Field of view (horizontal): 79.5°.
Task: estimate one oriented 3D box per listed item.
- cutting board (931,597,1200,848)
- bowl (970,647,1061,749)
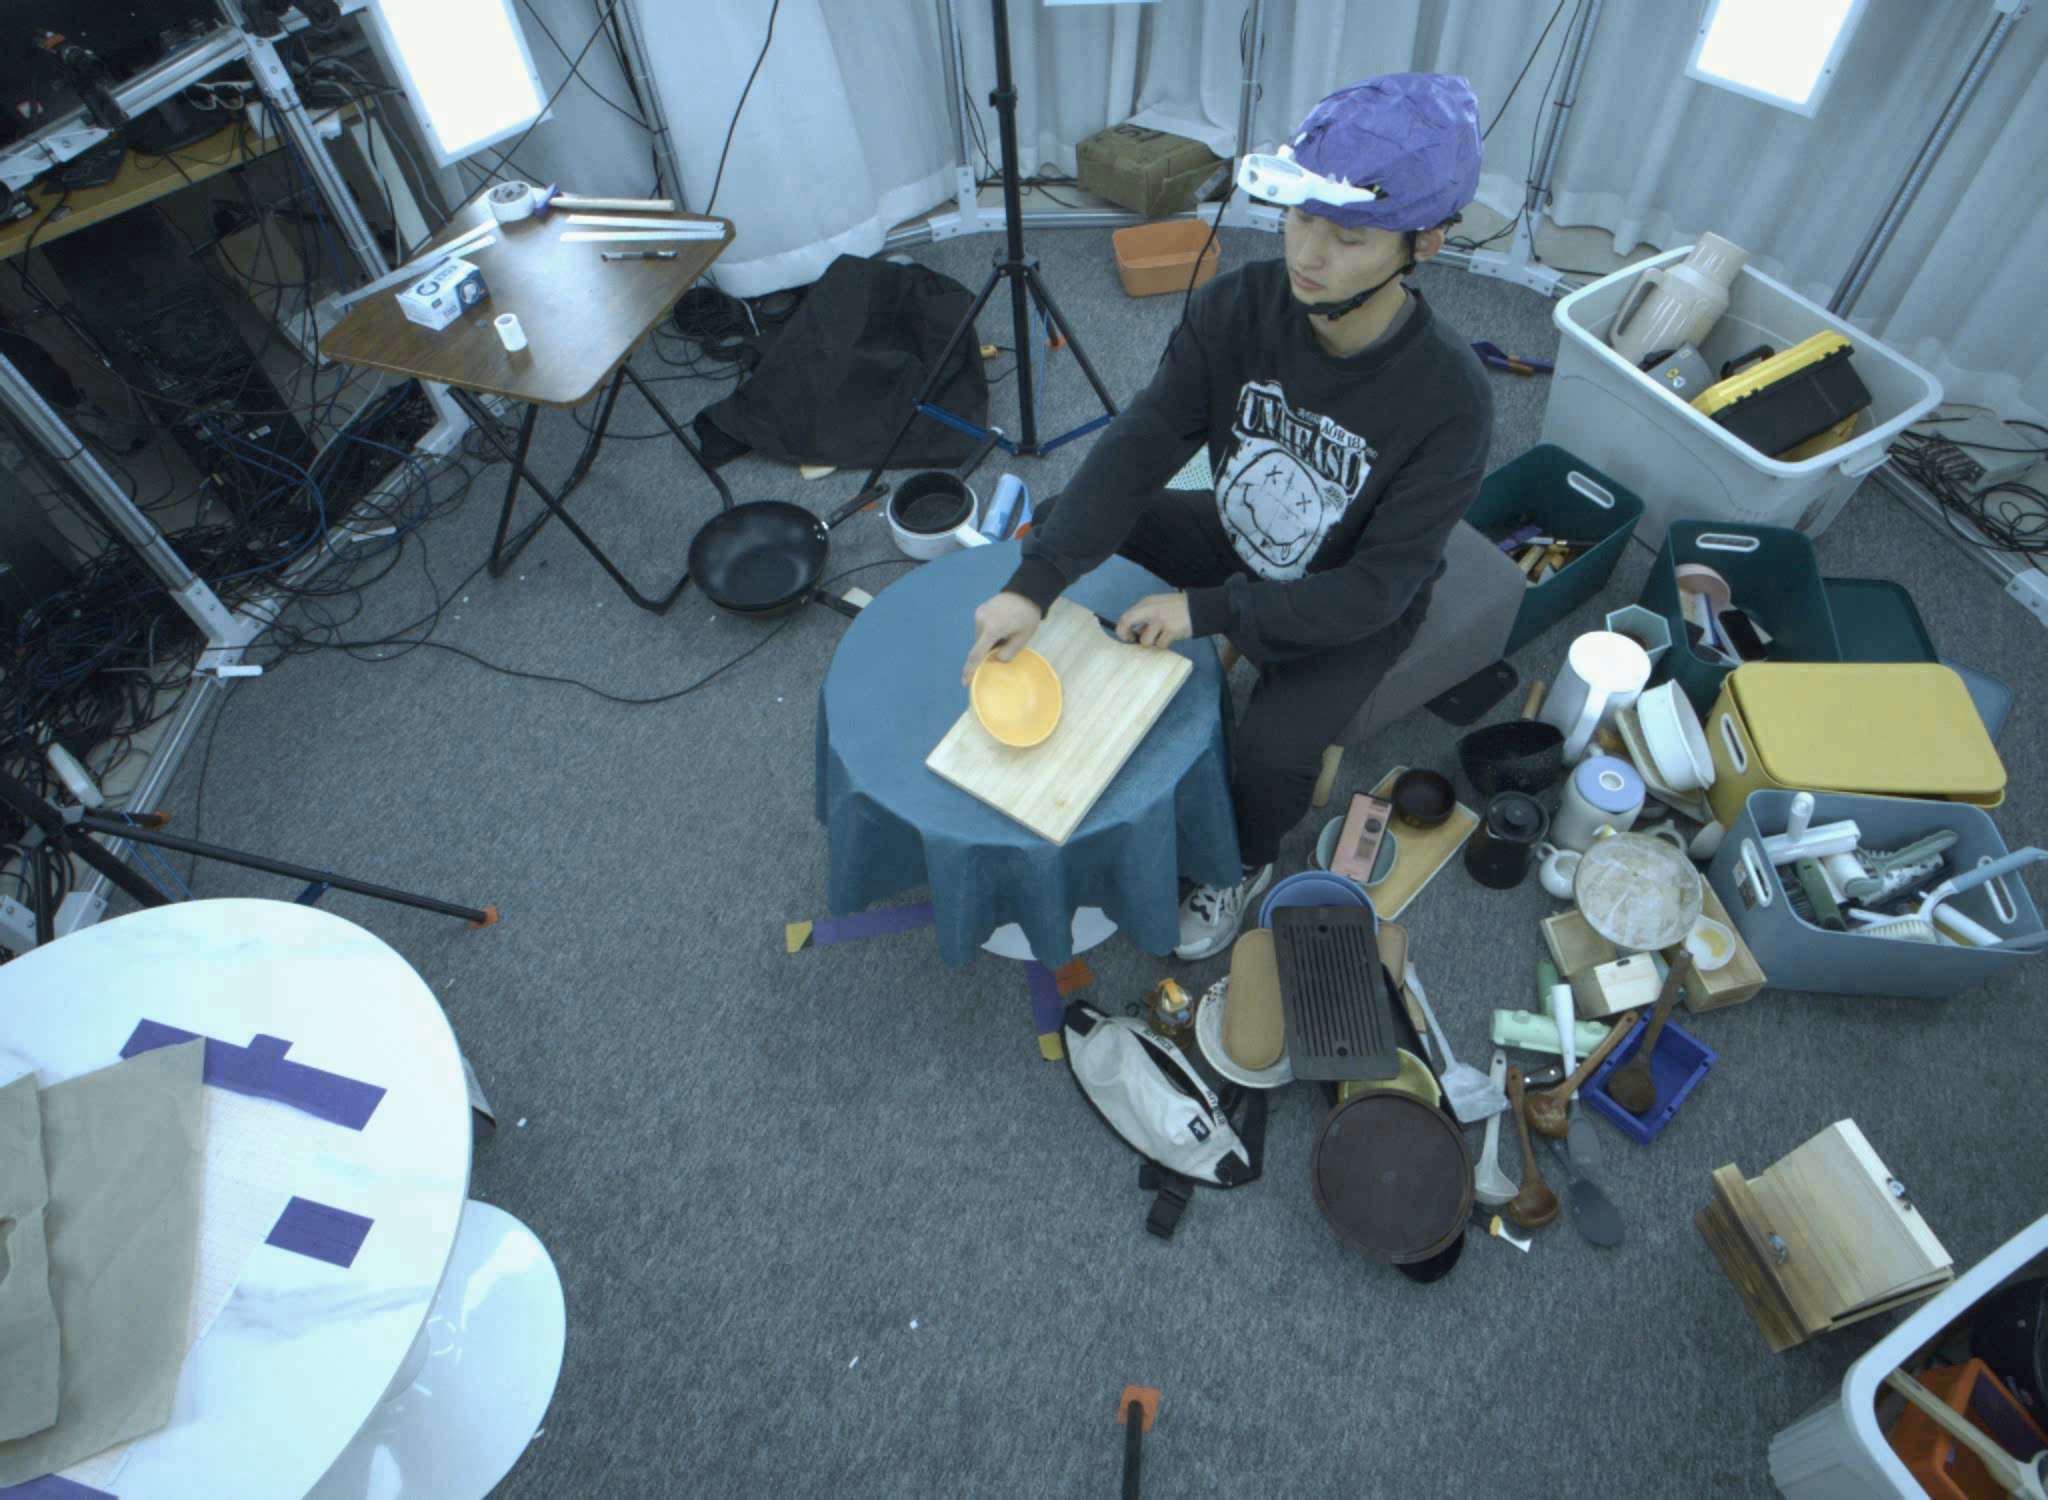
[{"bbox_3d":[0.060,-0.050,1.789,0.247,0.024,0.349,29,69,20],"label":"cutting board"},{"bbox_3d":[-0.023,-0.071,1.744,0.146,0.147,0.059,-50,23,-26],"label":"bowl"}]
